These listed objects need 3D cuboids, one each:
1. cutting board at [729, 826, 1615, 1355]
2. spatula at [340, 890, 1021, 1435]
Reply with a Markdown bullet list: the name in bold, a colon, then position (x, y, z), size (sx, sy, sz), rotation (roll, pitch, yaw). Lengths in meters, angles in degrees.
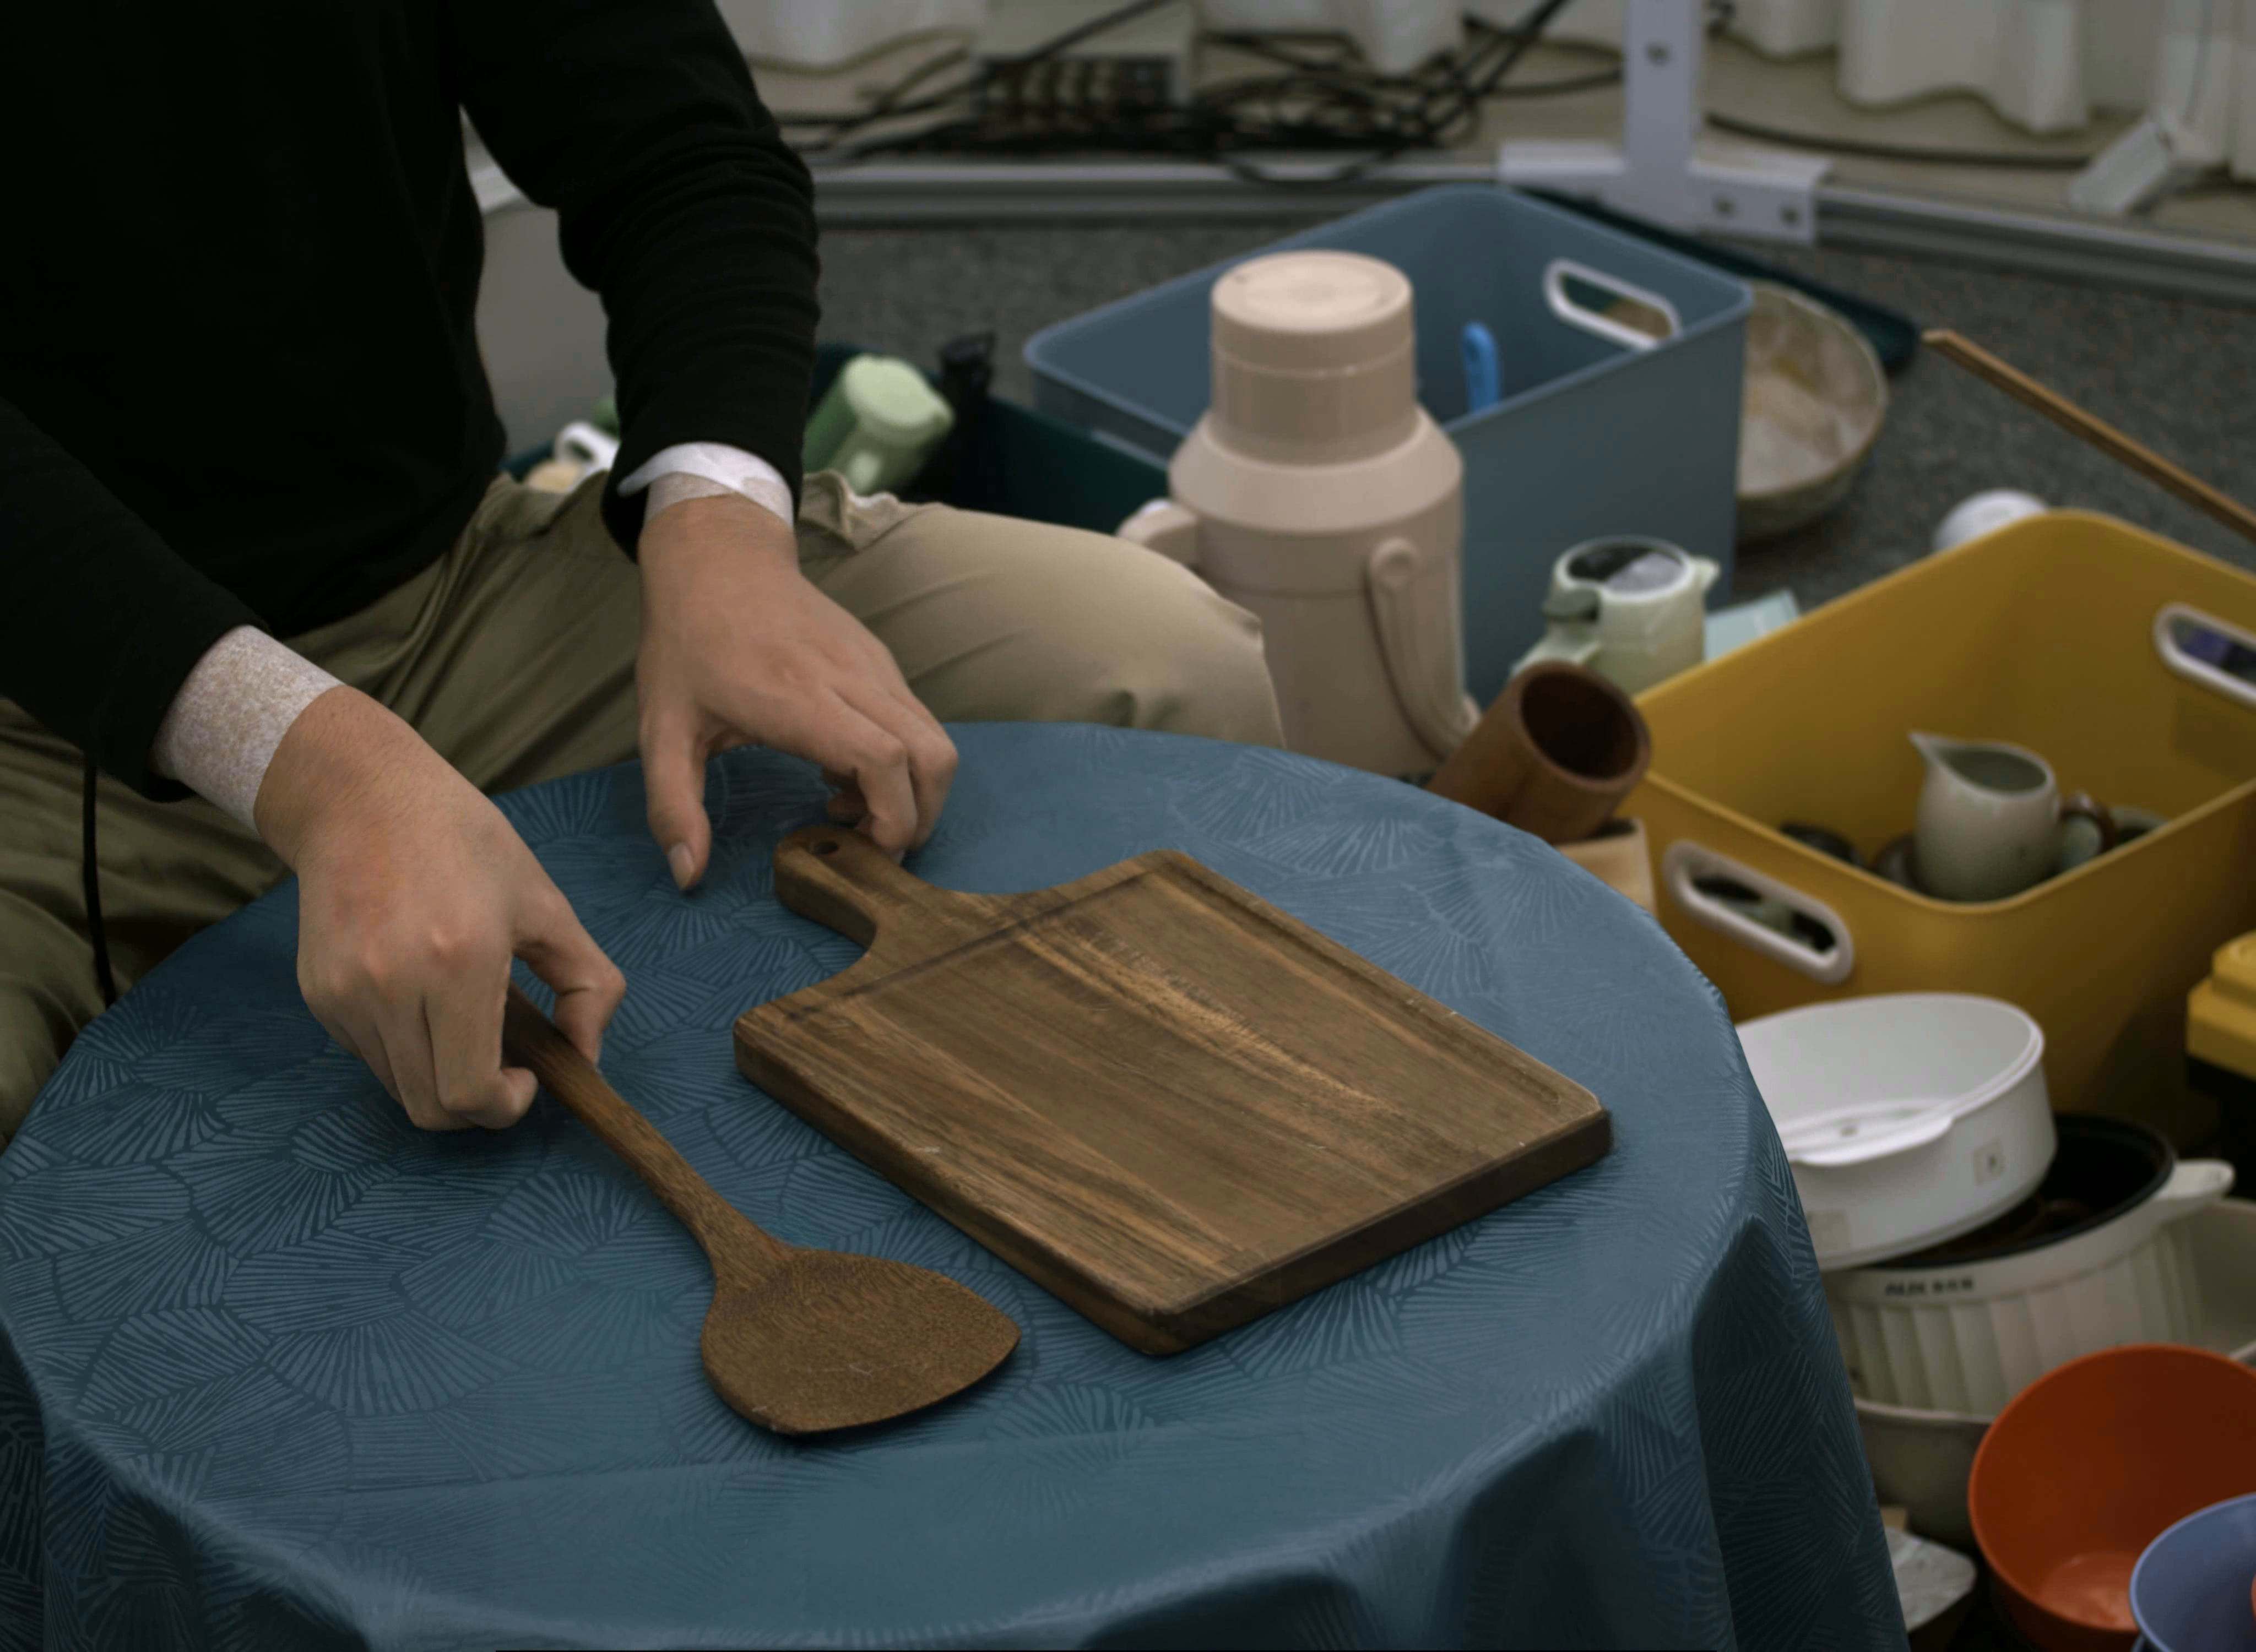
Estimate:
- **cutting board**: position (-0.017, 0.070, 1.939), size (0.203, 0.023, 0.352), rotation (-21, 32, -31)
- **spatula**: position (-0.170, 0.103, 1.882), size (0.097, 0.015, 0.387), rotation (-18, 35, -29)
